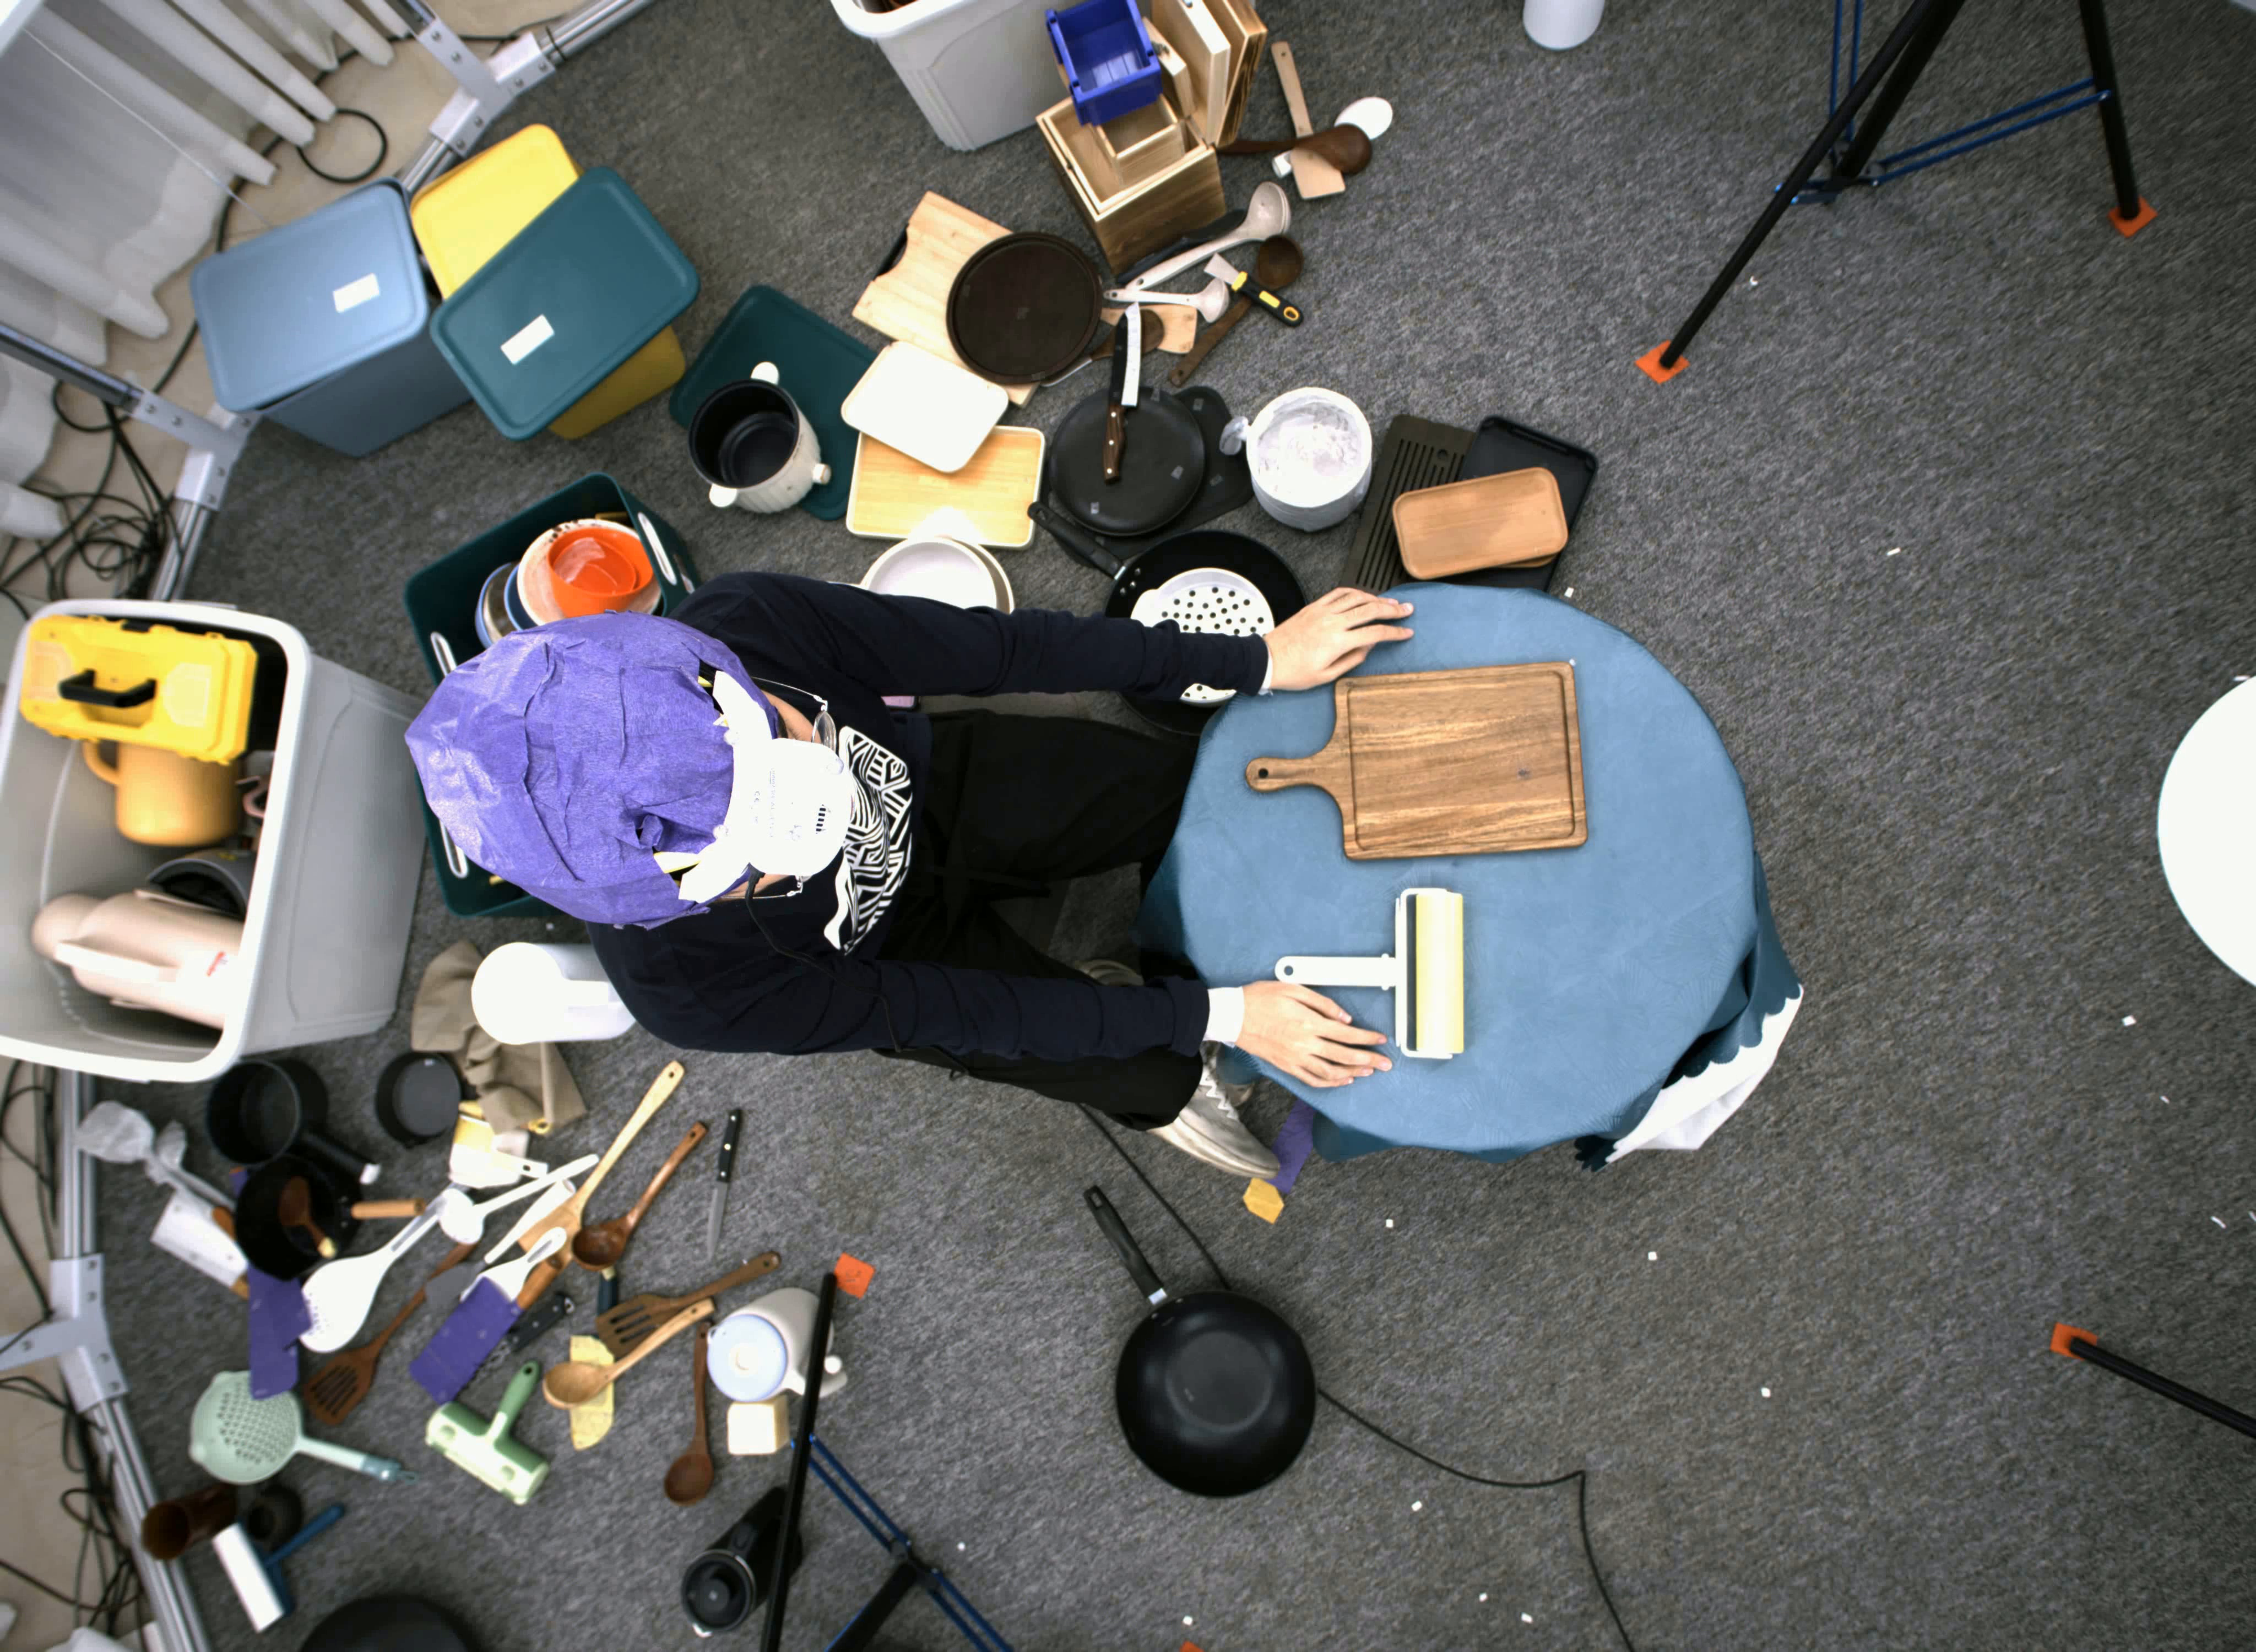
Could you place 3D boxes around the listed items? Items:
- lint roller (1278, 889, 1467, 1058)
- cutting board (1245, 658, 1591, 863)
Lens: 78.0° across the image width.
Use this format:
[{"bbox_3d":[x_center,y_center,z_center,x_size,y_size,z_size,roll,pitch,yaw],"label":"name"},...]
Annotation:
[{"bbox_3d":[0.252,0.152,1.434,0.192,0.051,0.173,-1,85,8],"label":"lint roller"},{"bbox_3d":[0.299,-0.067,1.452,0.354,0.023,0.200,-4,86,11],"label":"cutting board"}]
